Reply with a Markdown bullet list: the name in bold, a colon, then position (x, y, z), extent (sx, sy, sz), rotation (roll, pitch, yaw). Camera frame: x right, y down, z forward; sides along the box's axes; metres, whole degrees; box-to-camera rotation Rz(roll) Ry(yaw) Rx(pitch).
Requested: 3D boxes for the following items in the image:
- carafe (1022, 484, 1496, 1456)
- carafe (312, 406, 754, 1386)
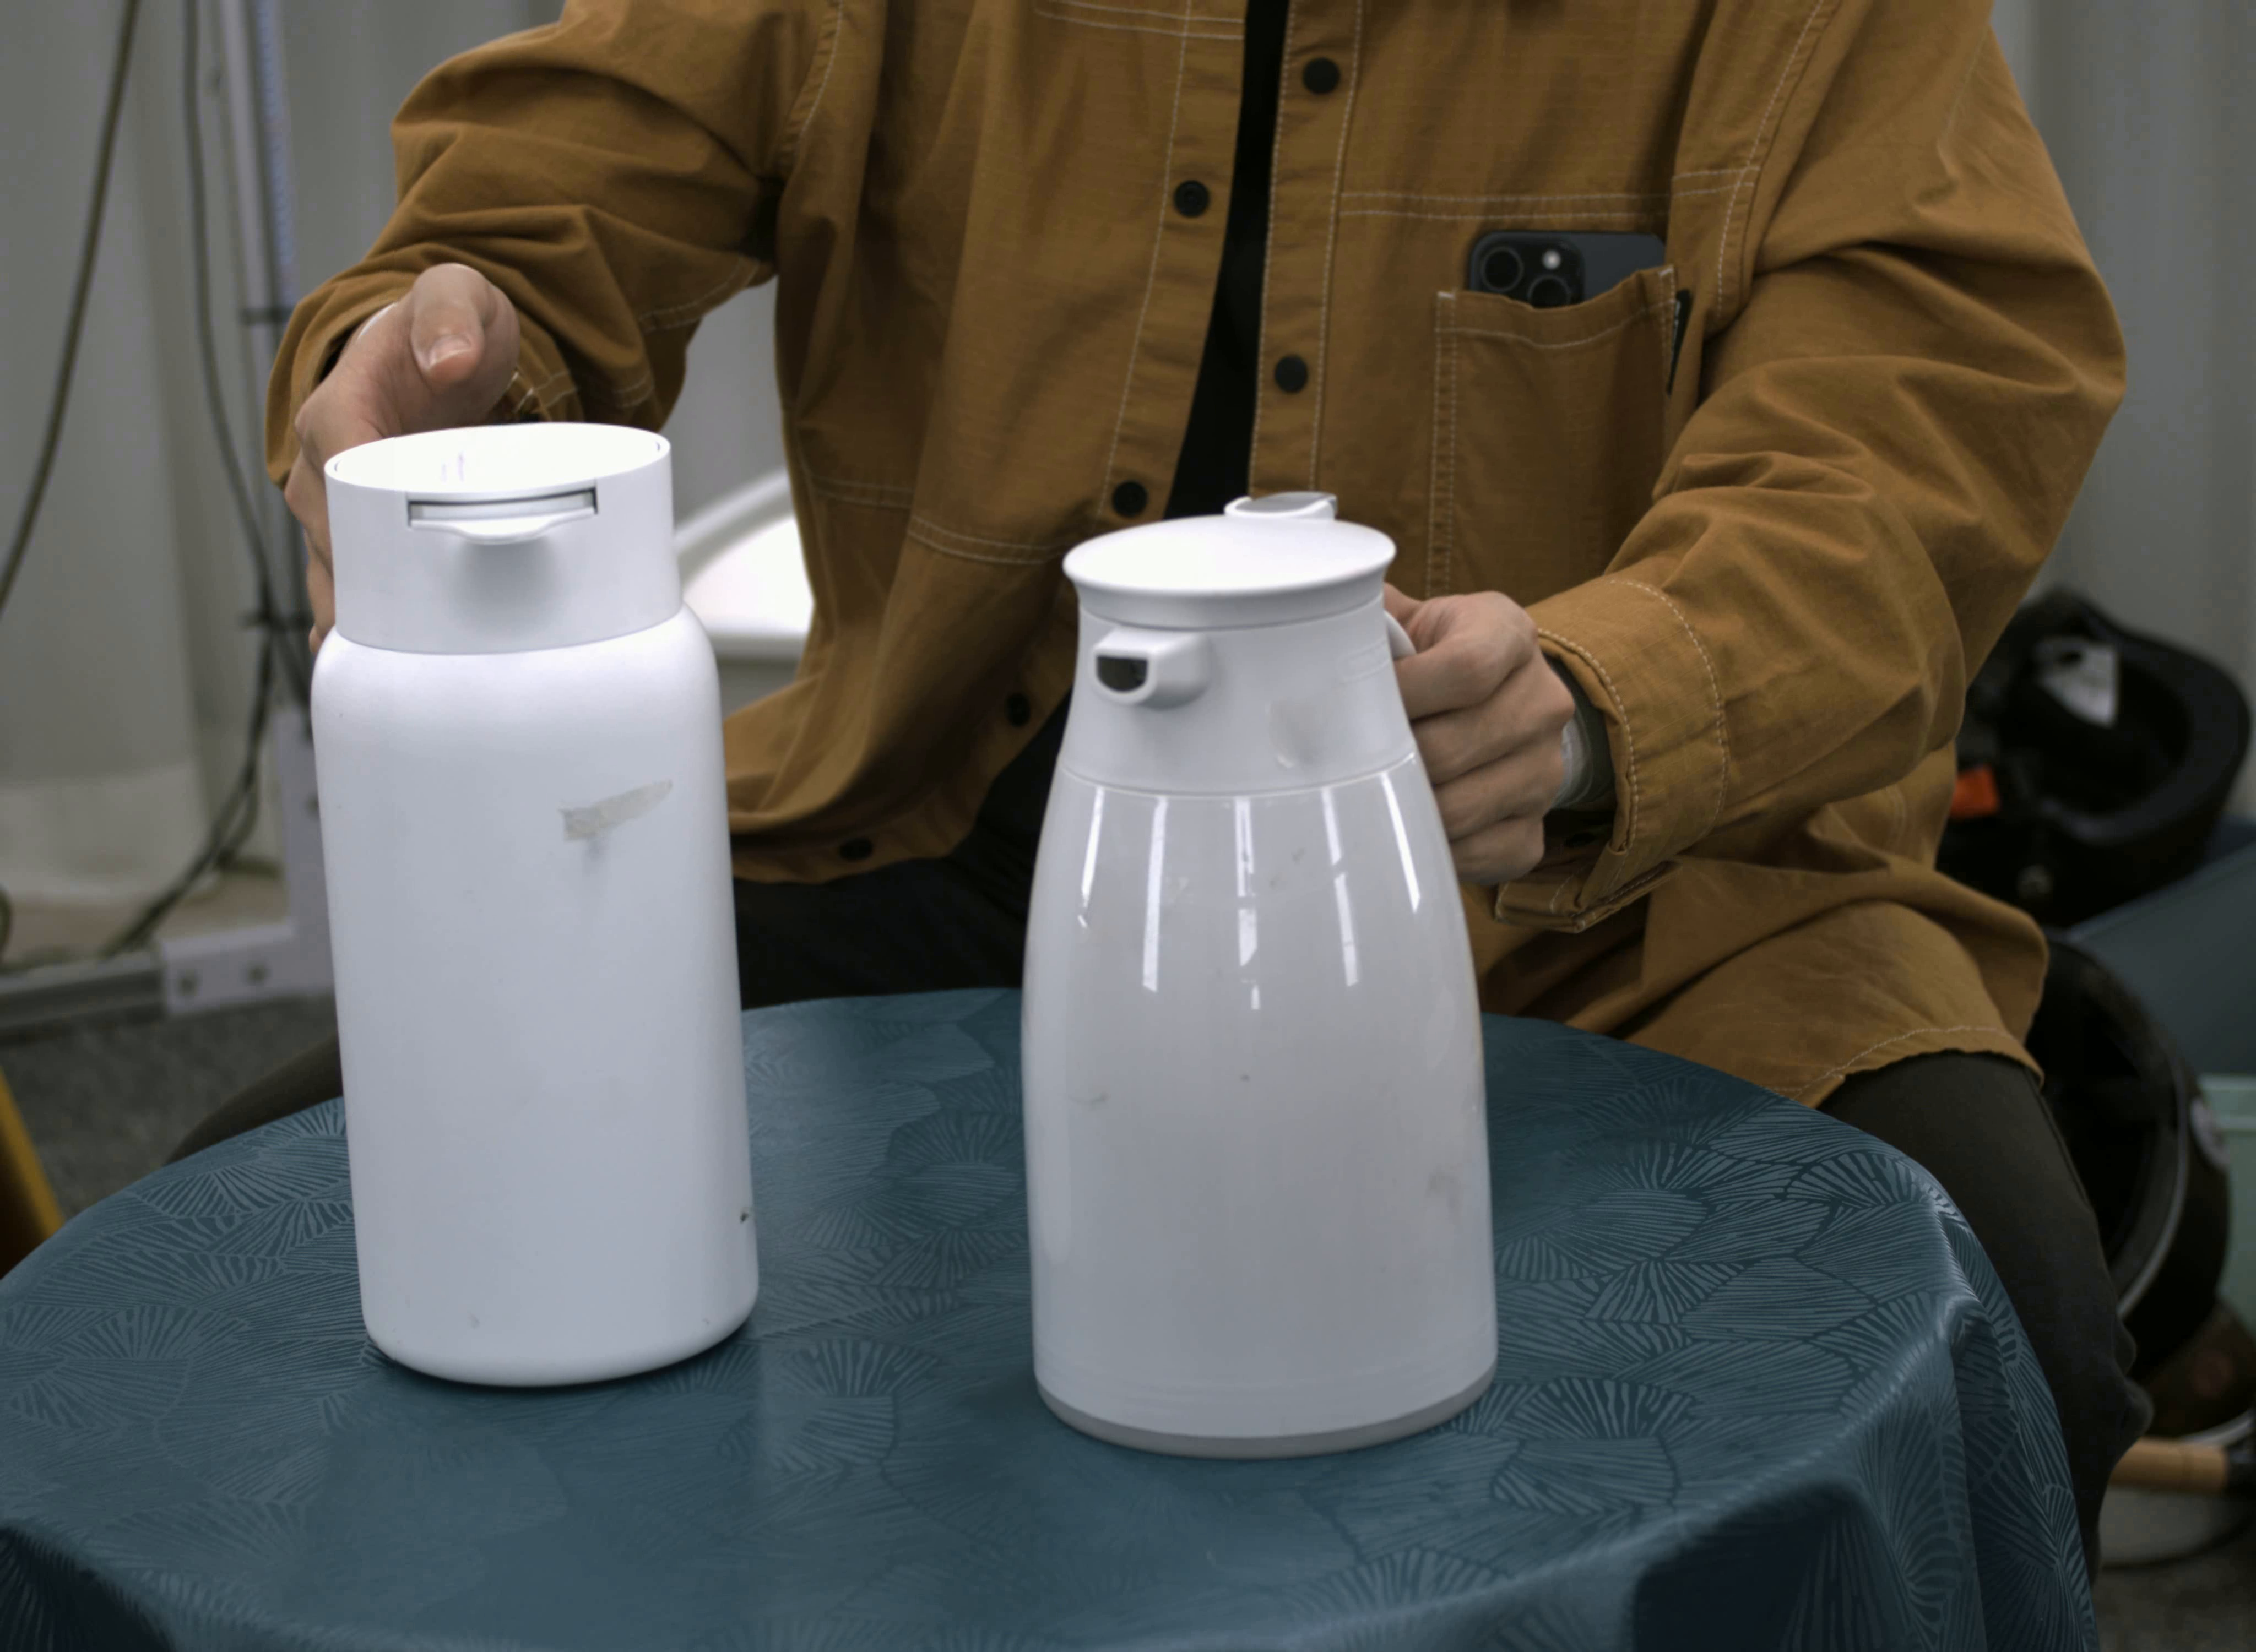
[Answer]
- **carafe**: position (0.042, 0.031, 1.538), extent (0.133, 0.248, 0.168), rotation (5, 15, 29)
- **carafe**: position (-0.177, 0.016, 1.603), extent (0.123, 0.268, 0.174), rotation (-6, 14, -6)
